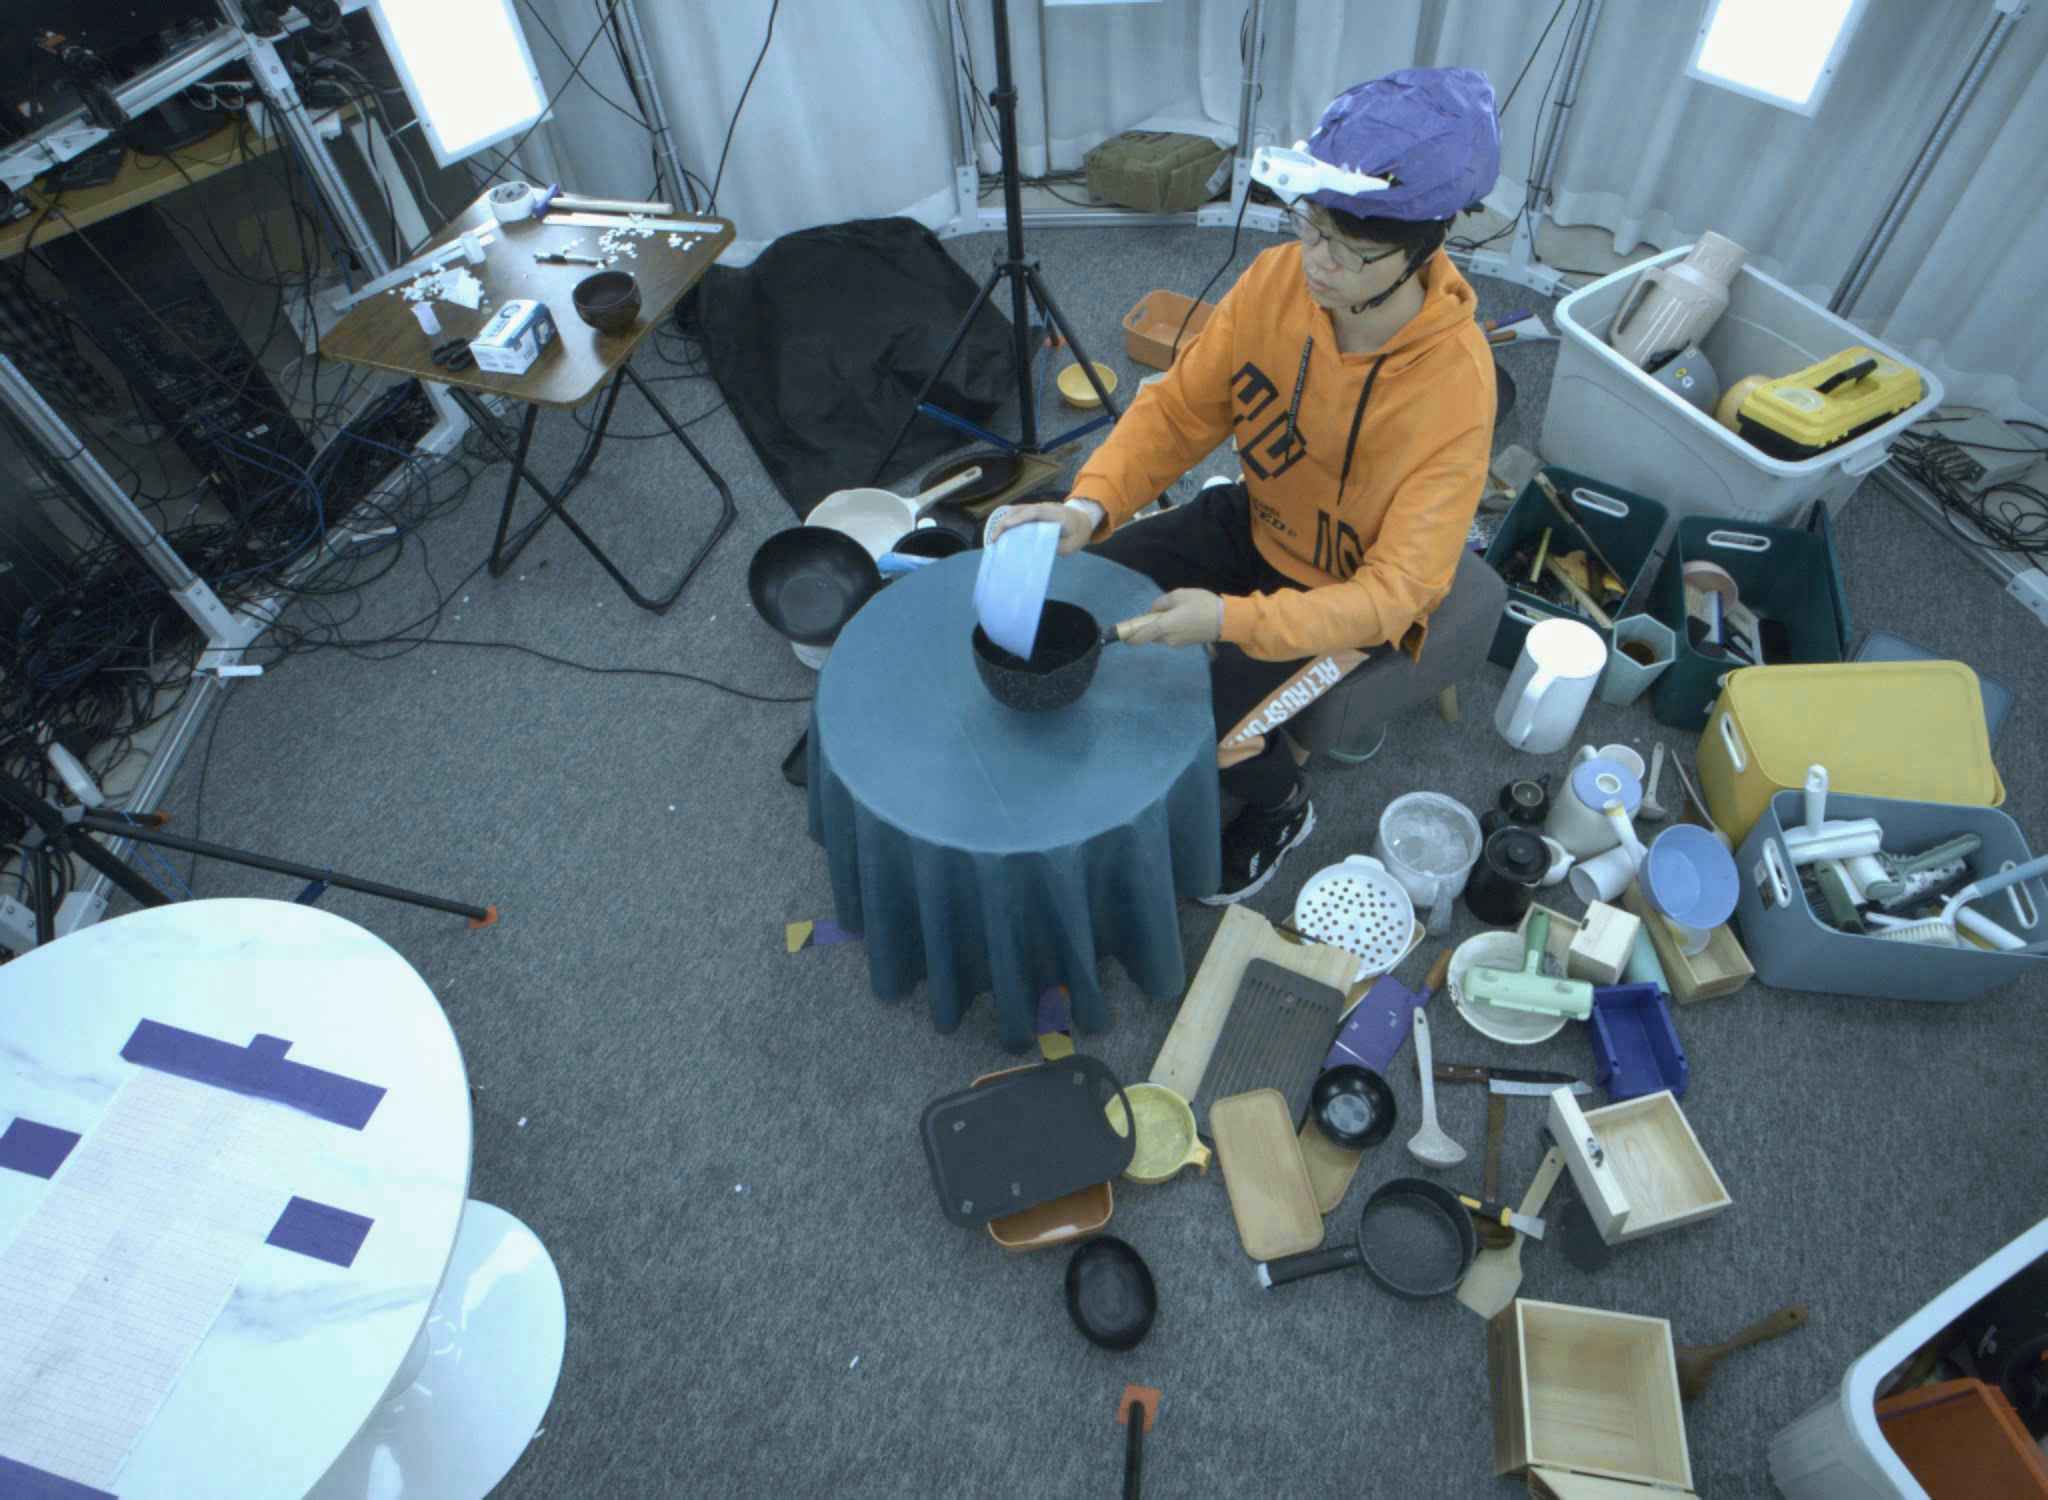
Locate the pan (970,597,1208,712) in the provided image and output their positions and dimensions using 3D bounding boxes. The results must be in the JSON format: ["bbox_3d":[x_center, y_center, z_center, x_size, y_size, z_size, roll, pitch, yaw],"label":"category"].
[{"bbox_3d":[0.096,-0.152,1.770,0.344,0.109,0.204,-9,40,-4],"label":"pan"}]

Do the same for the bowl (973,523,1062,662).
[{"bbox_3d":[-0.015,-0.227,1.694,0.095,0.197,0.195,13,56,-1],"label":"bowl"}]
